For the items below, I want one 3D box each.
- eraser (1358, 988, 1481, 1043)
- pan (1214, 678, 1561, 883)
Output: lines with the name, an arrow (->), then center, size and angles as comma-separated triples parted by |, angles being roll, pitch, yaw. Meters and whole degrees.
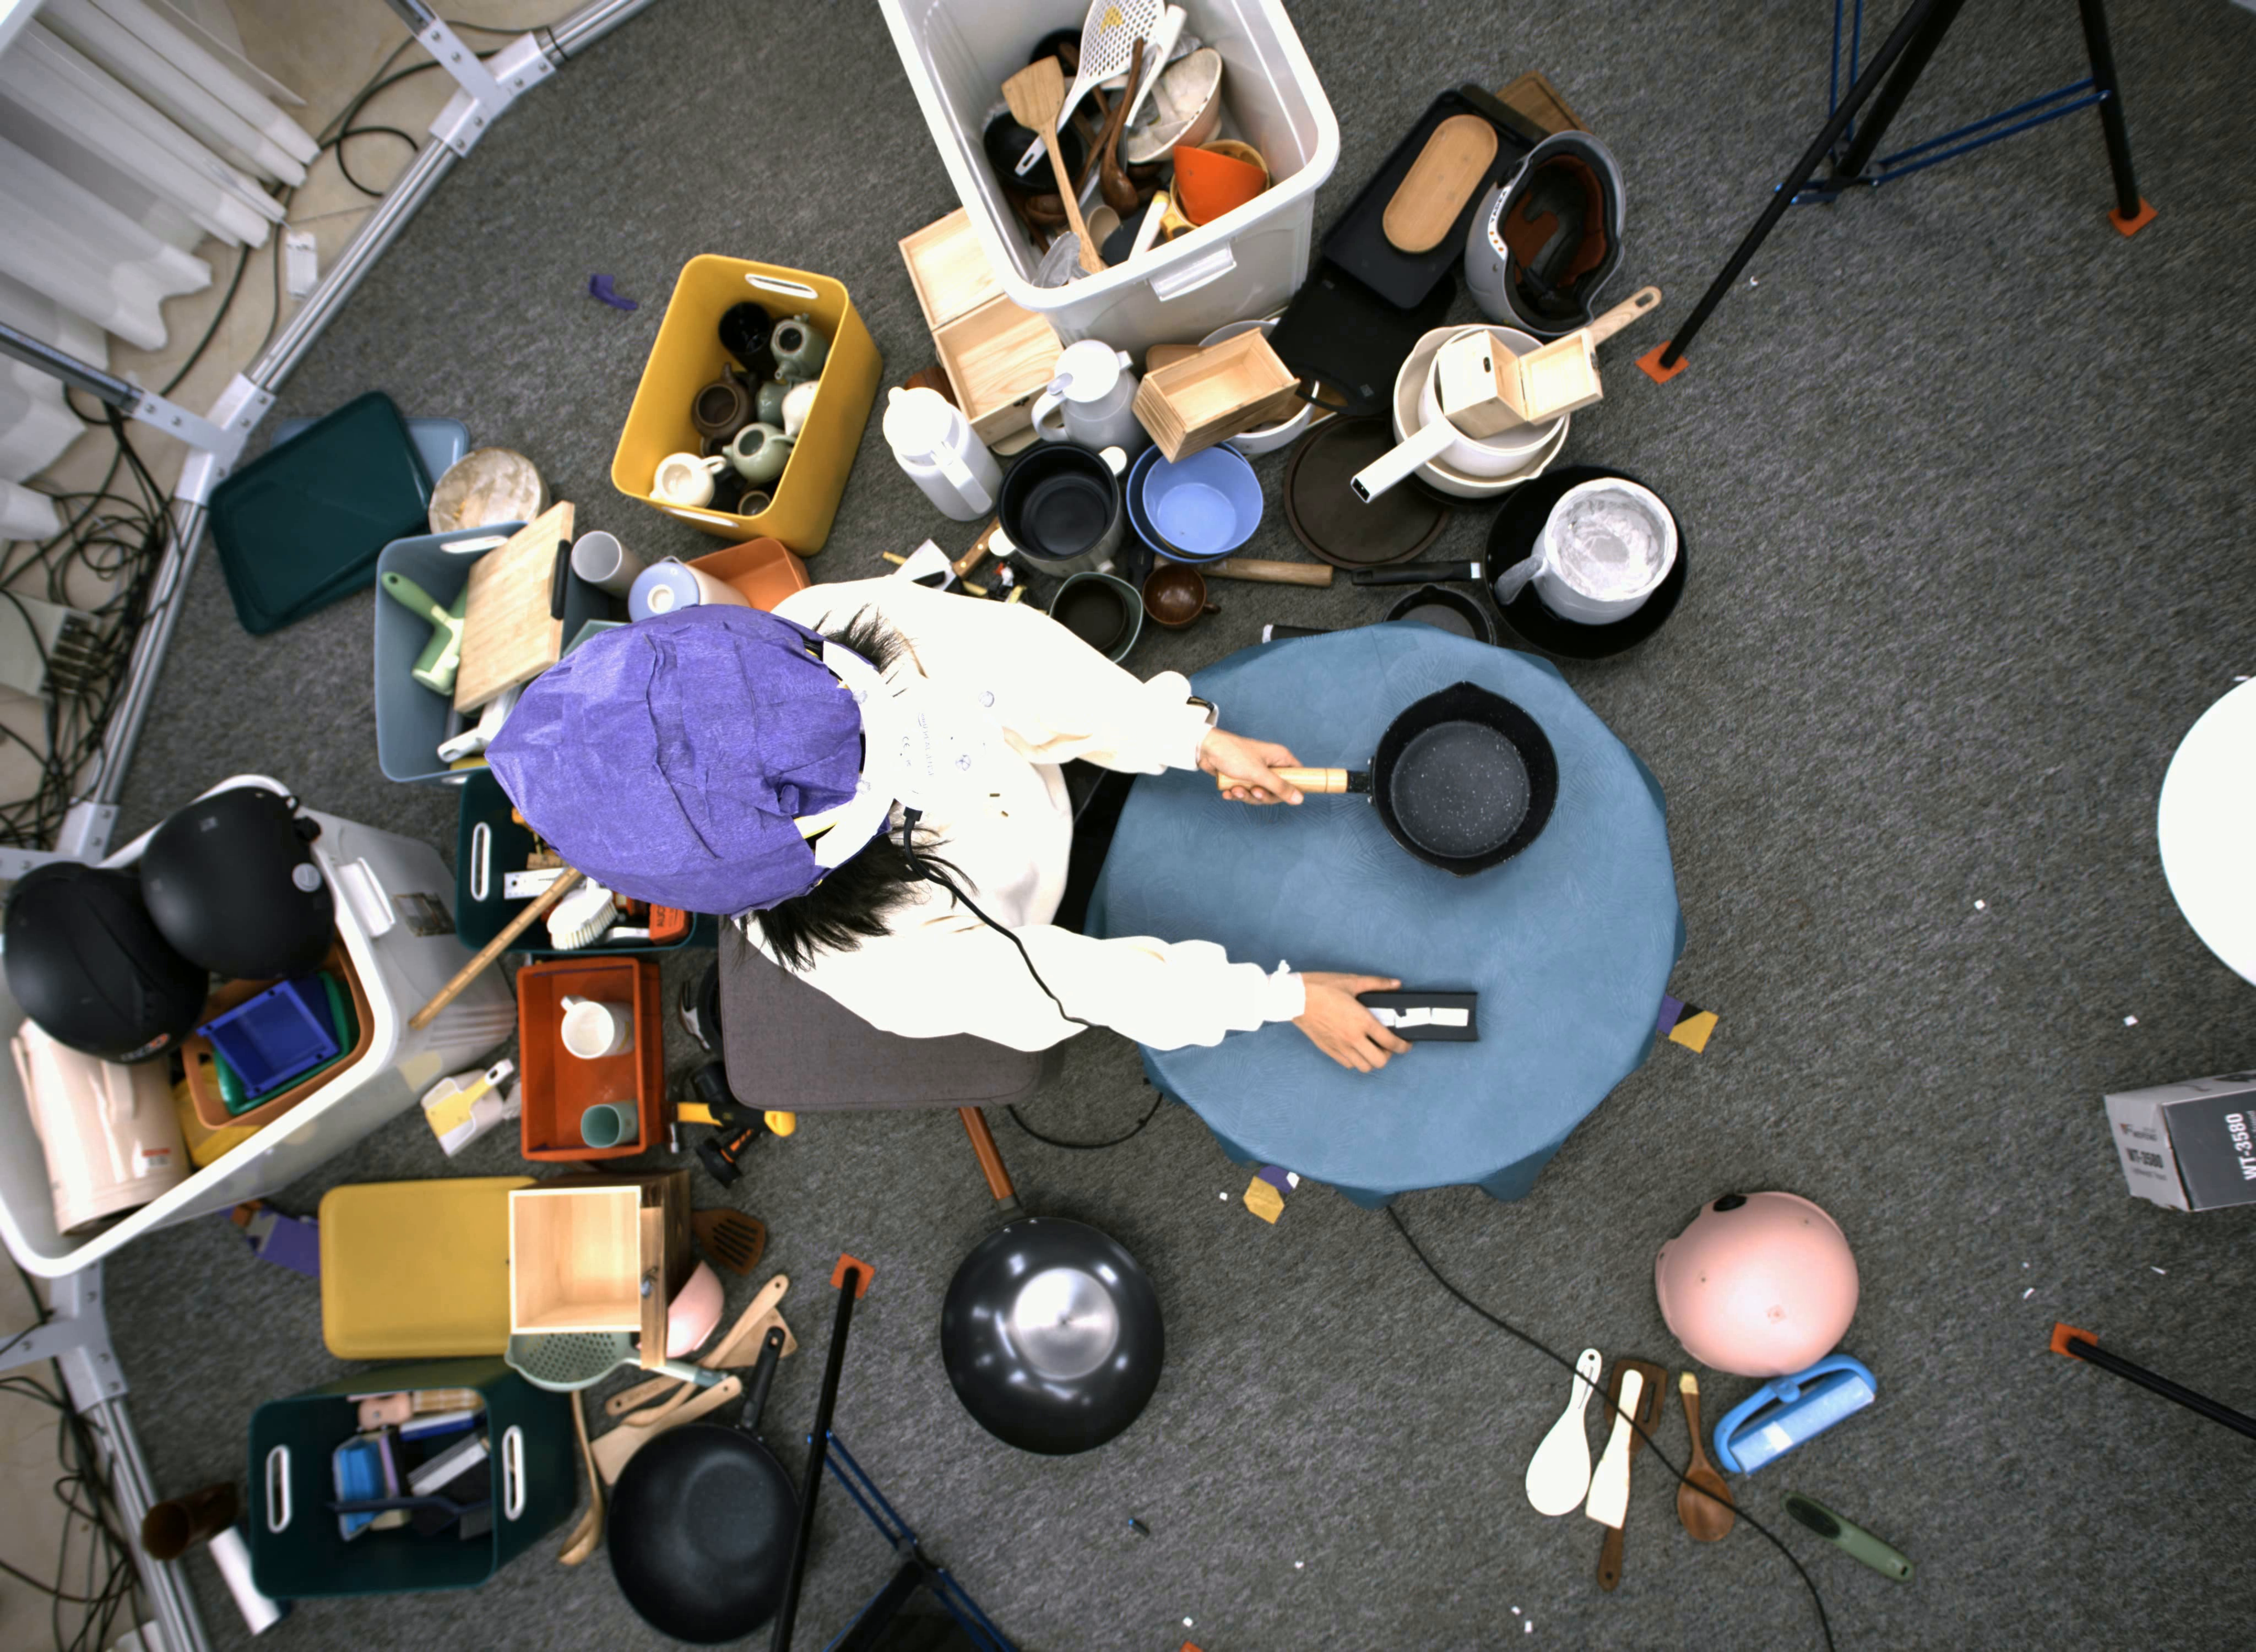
eraser -> 0.302, 0.195, 1.433 | 0.126, 0.030, 0.053 | 0, 86, 11
pan -> 0.263, -0.044, 1.413 | 0.344, 0.108, 0.207 | -1, 87, 9
